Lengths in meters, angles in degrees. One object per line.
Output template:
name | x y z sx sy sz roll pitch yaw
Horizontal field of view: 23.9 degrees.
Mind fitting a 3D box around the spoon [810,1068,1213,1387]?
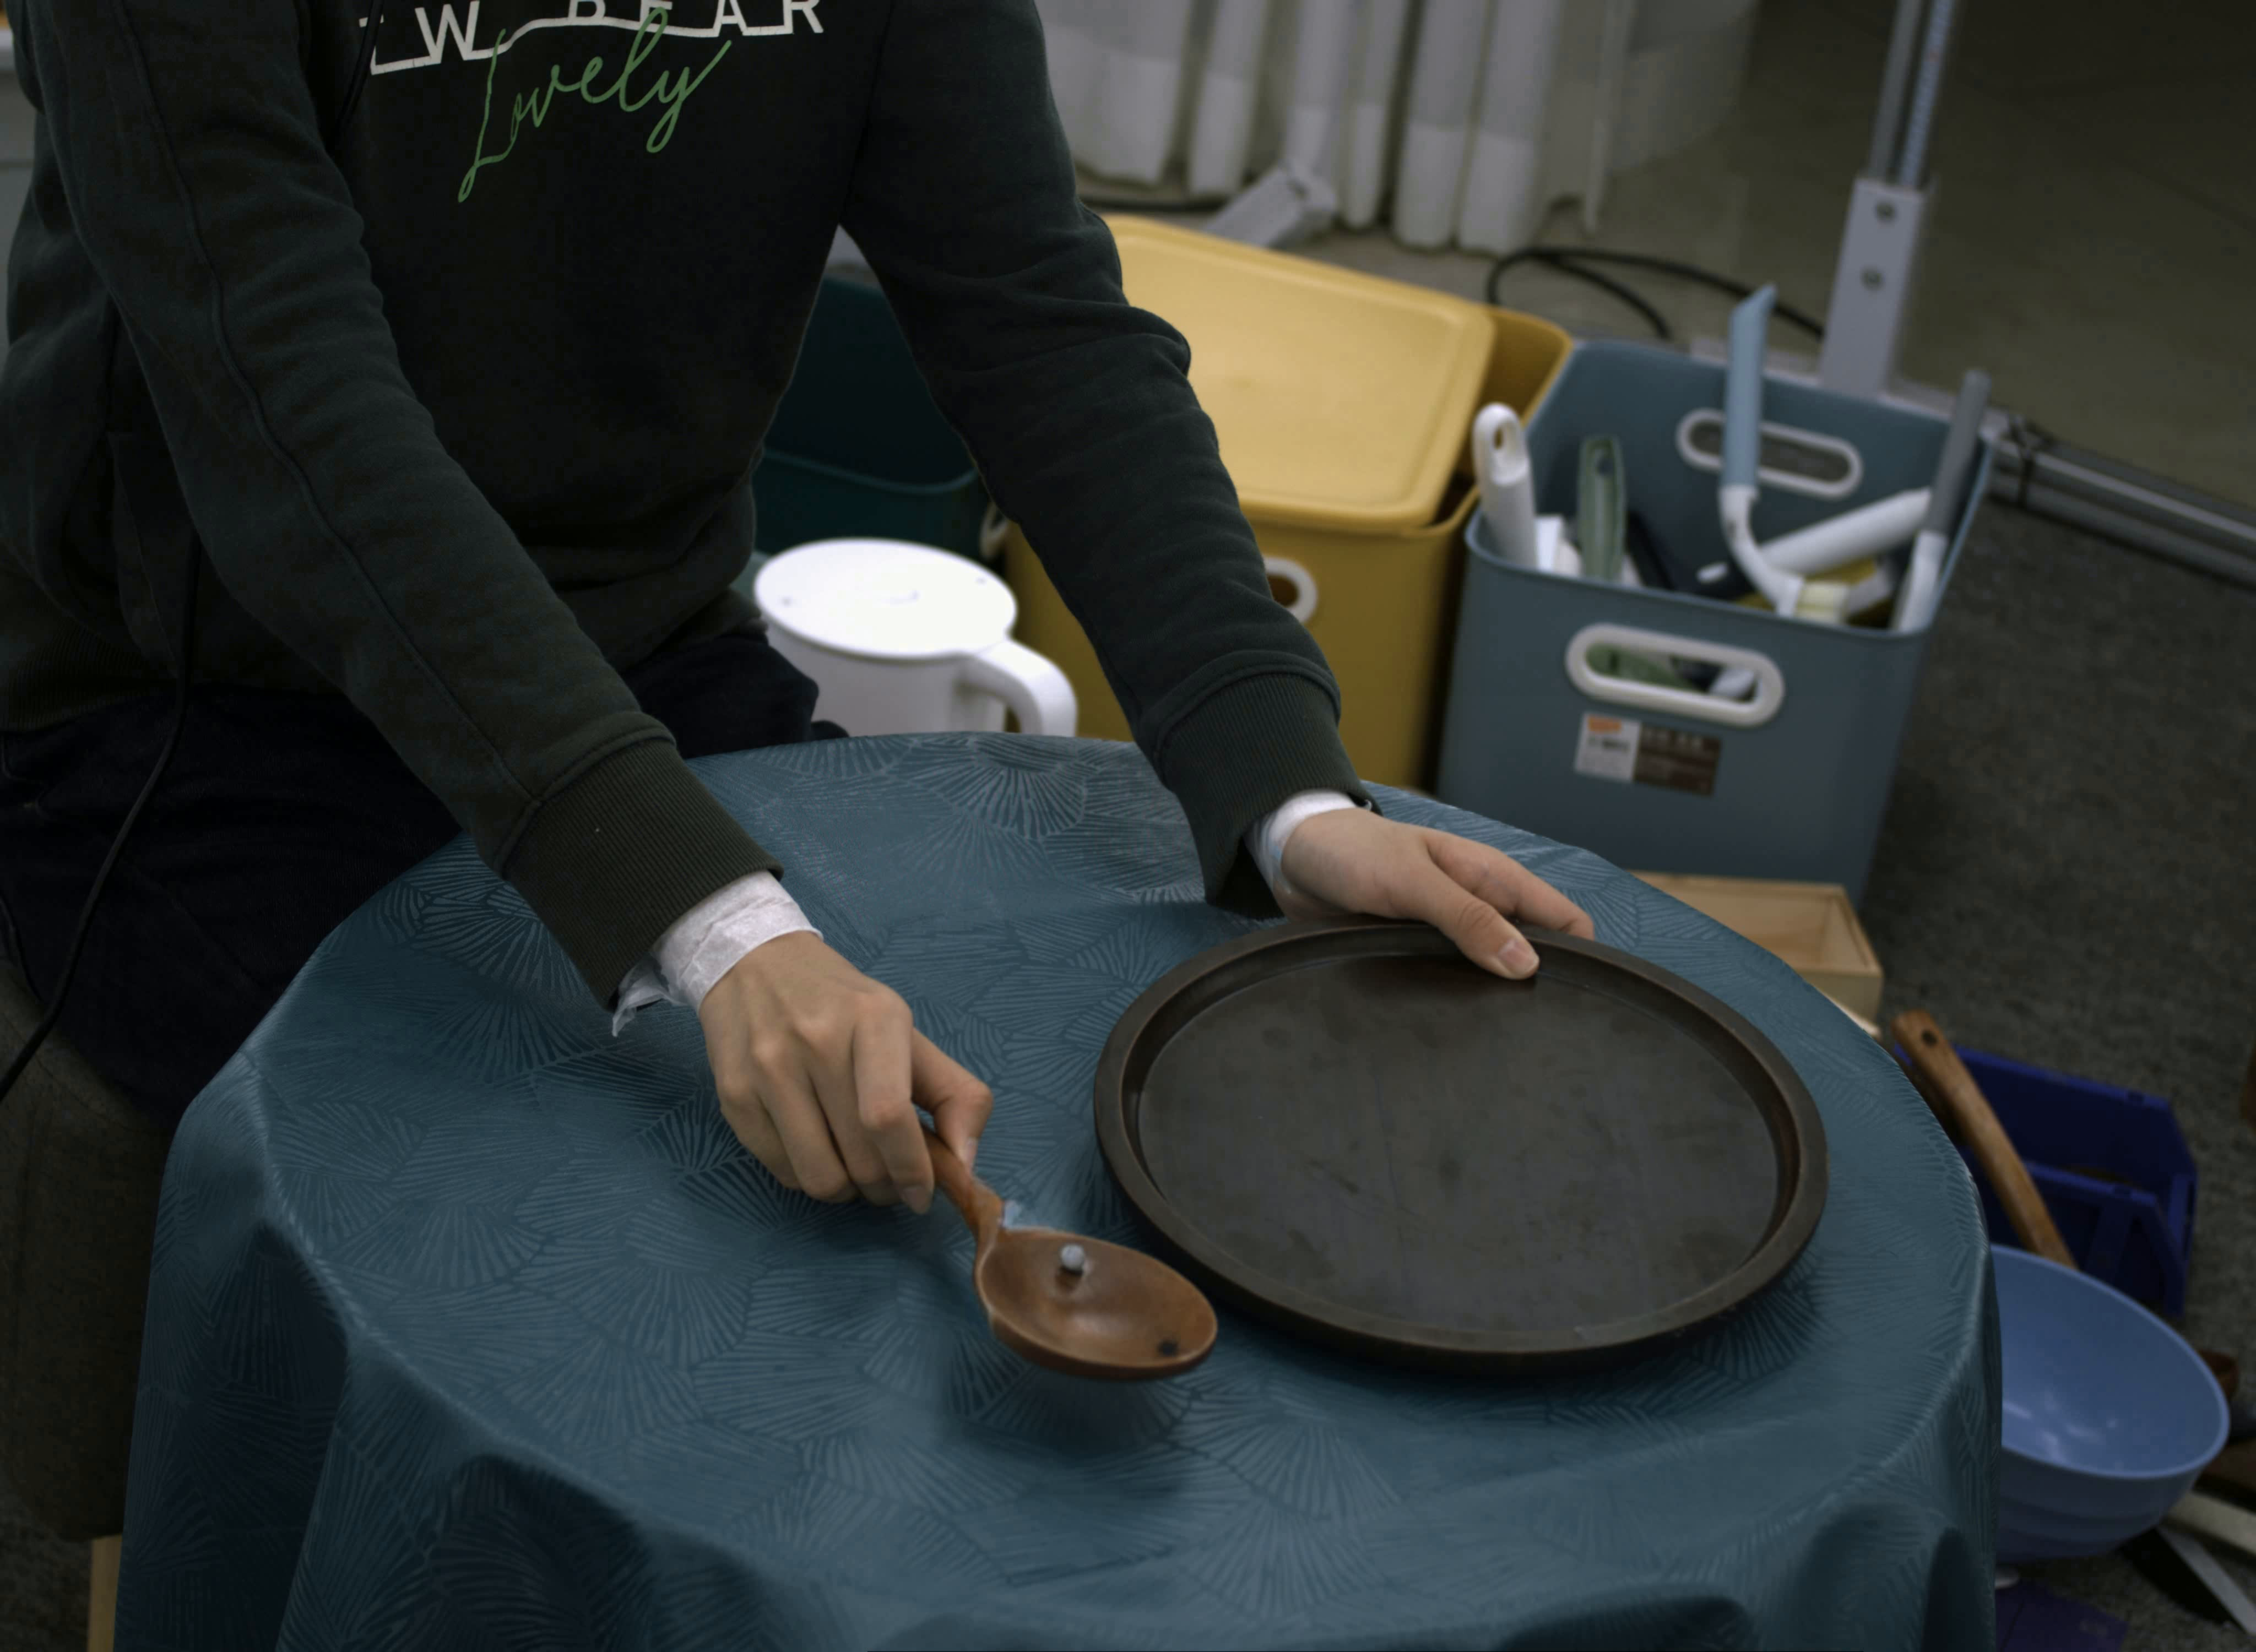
spoon | -0.046 0.131 1.722 0.075 0.017 0.218 -7 27 -30

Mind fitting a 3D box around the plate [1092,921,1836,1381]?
plate | 0.113 0.108 1.805 0.254 0.029 0.256 4 33 -3
